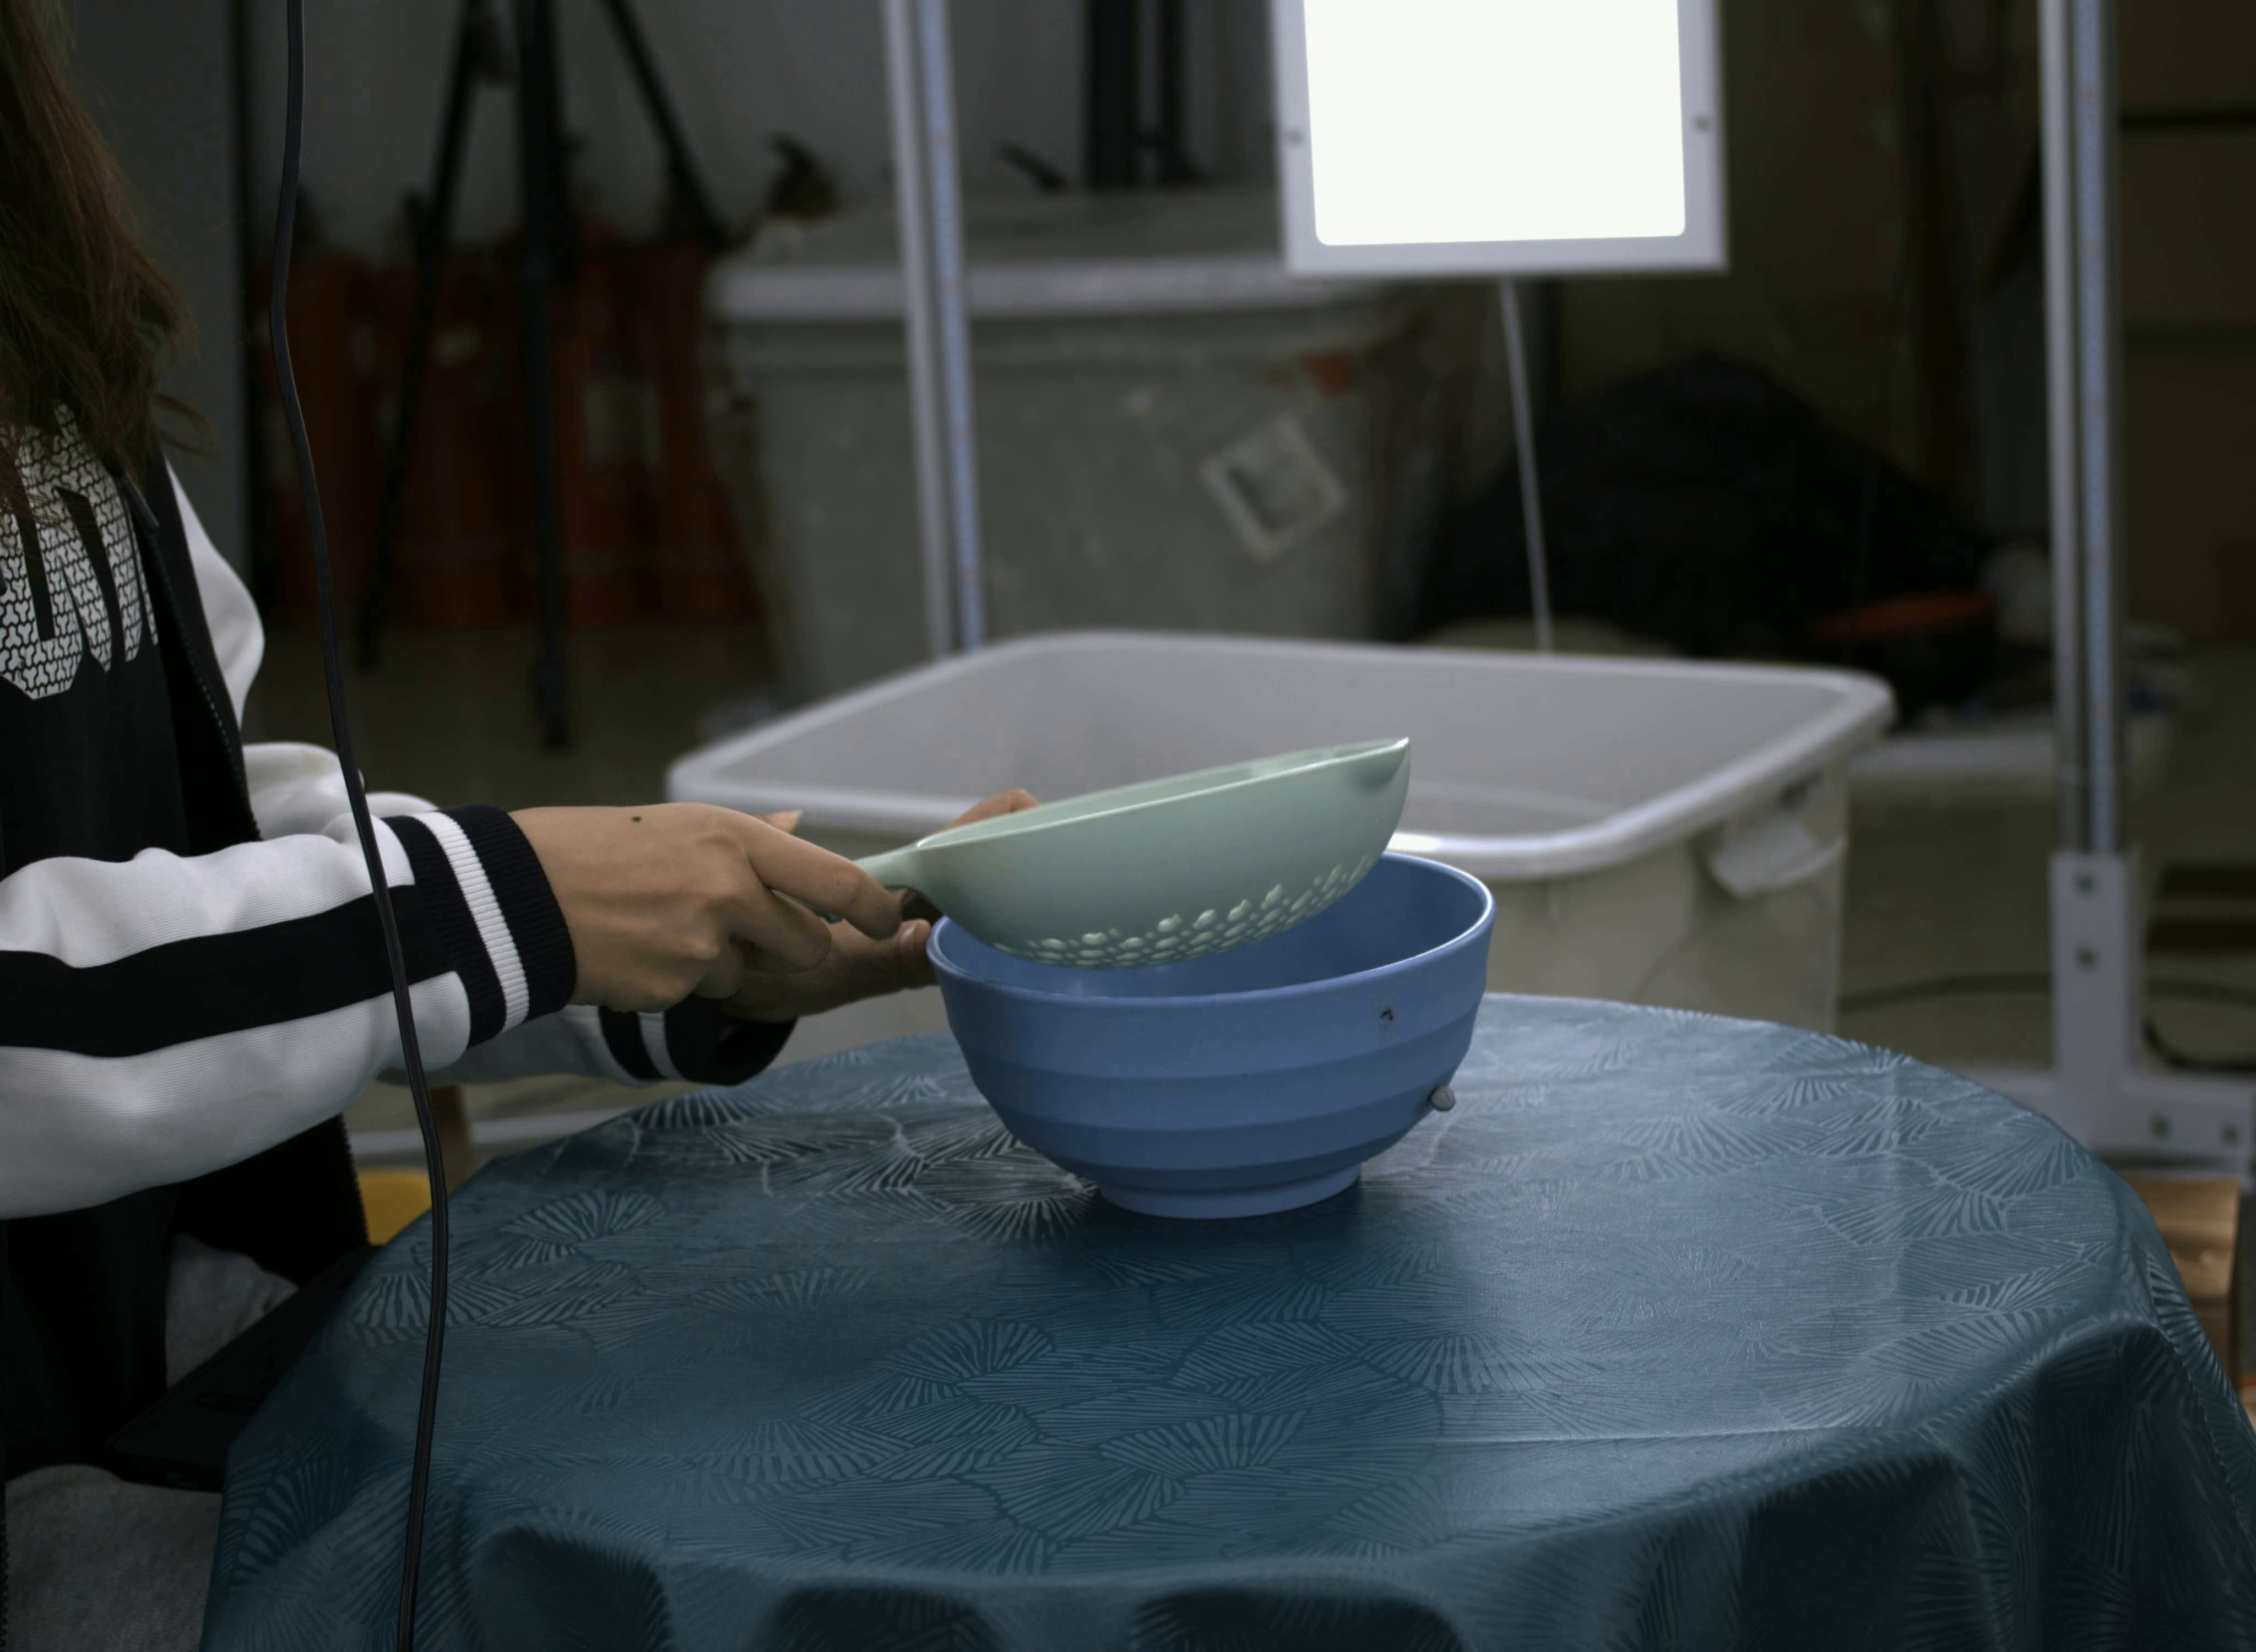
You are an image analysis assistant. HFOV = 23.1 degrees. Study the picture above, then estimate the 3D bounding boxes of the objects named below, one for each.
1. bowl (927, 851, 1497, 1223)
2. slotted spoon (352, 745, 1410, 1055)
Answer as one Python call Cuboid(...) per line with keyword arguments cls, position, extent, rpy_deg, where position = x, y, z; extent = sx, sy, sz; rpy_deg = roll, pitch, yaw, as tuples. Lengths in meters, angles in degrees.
Cuboid(cls="bowl", position=(0.032, 0.077, 1.891), extent=(0.196, 0.096, 0.196), rpy_deg=(-6, 14, 0))
Cuboid(cls="slotted spoon", position=(-0.080, 0.023, 1.821), extent=(0.355, 0.075, 0.170), rpy_deg=(-4, -1, -9))
